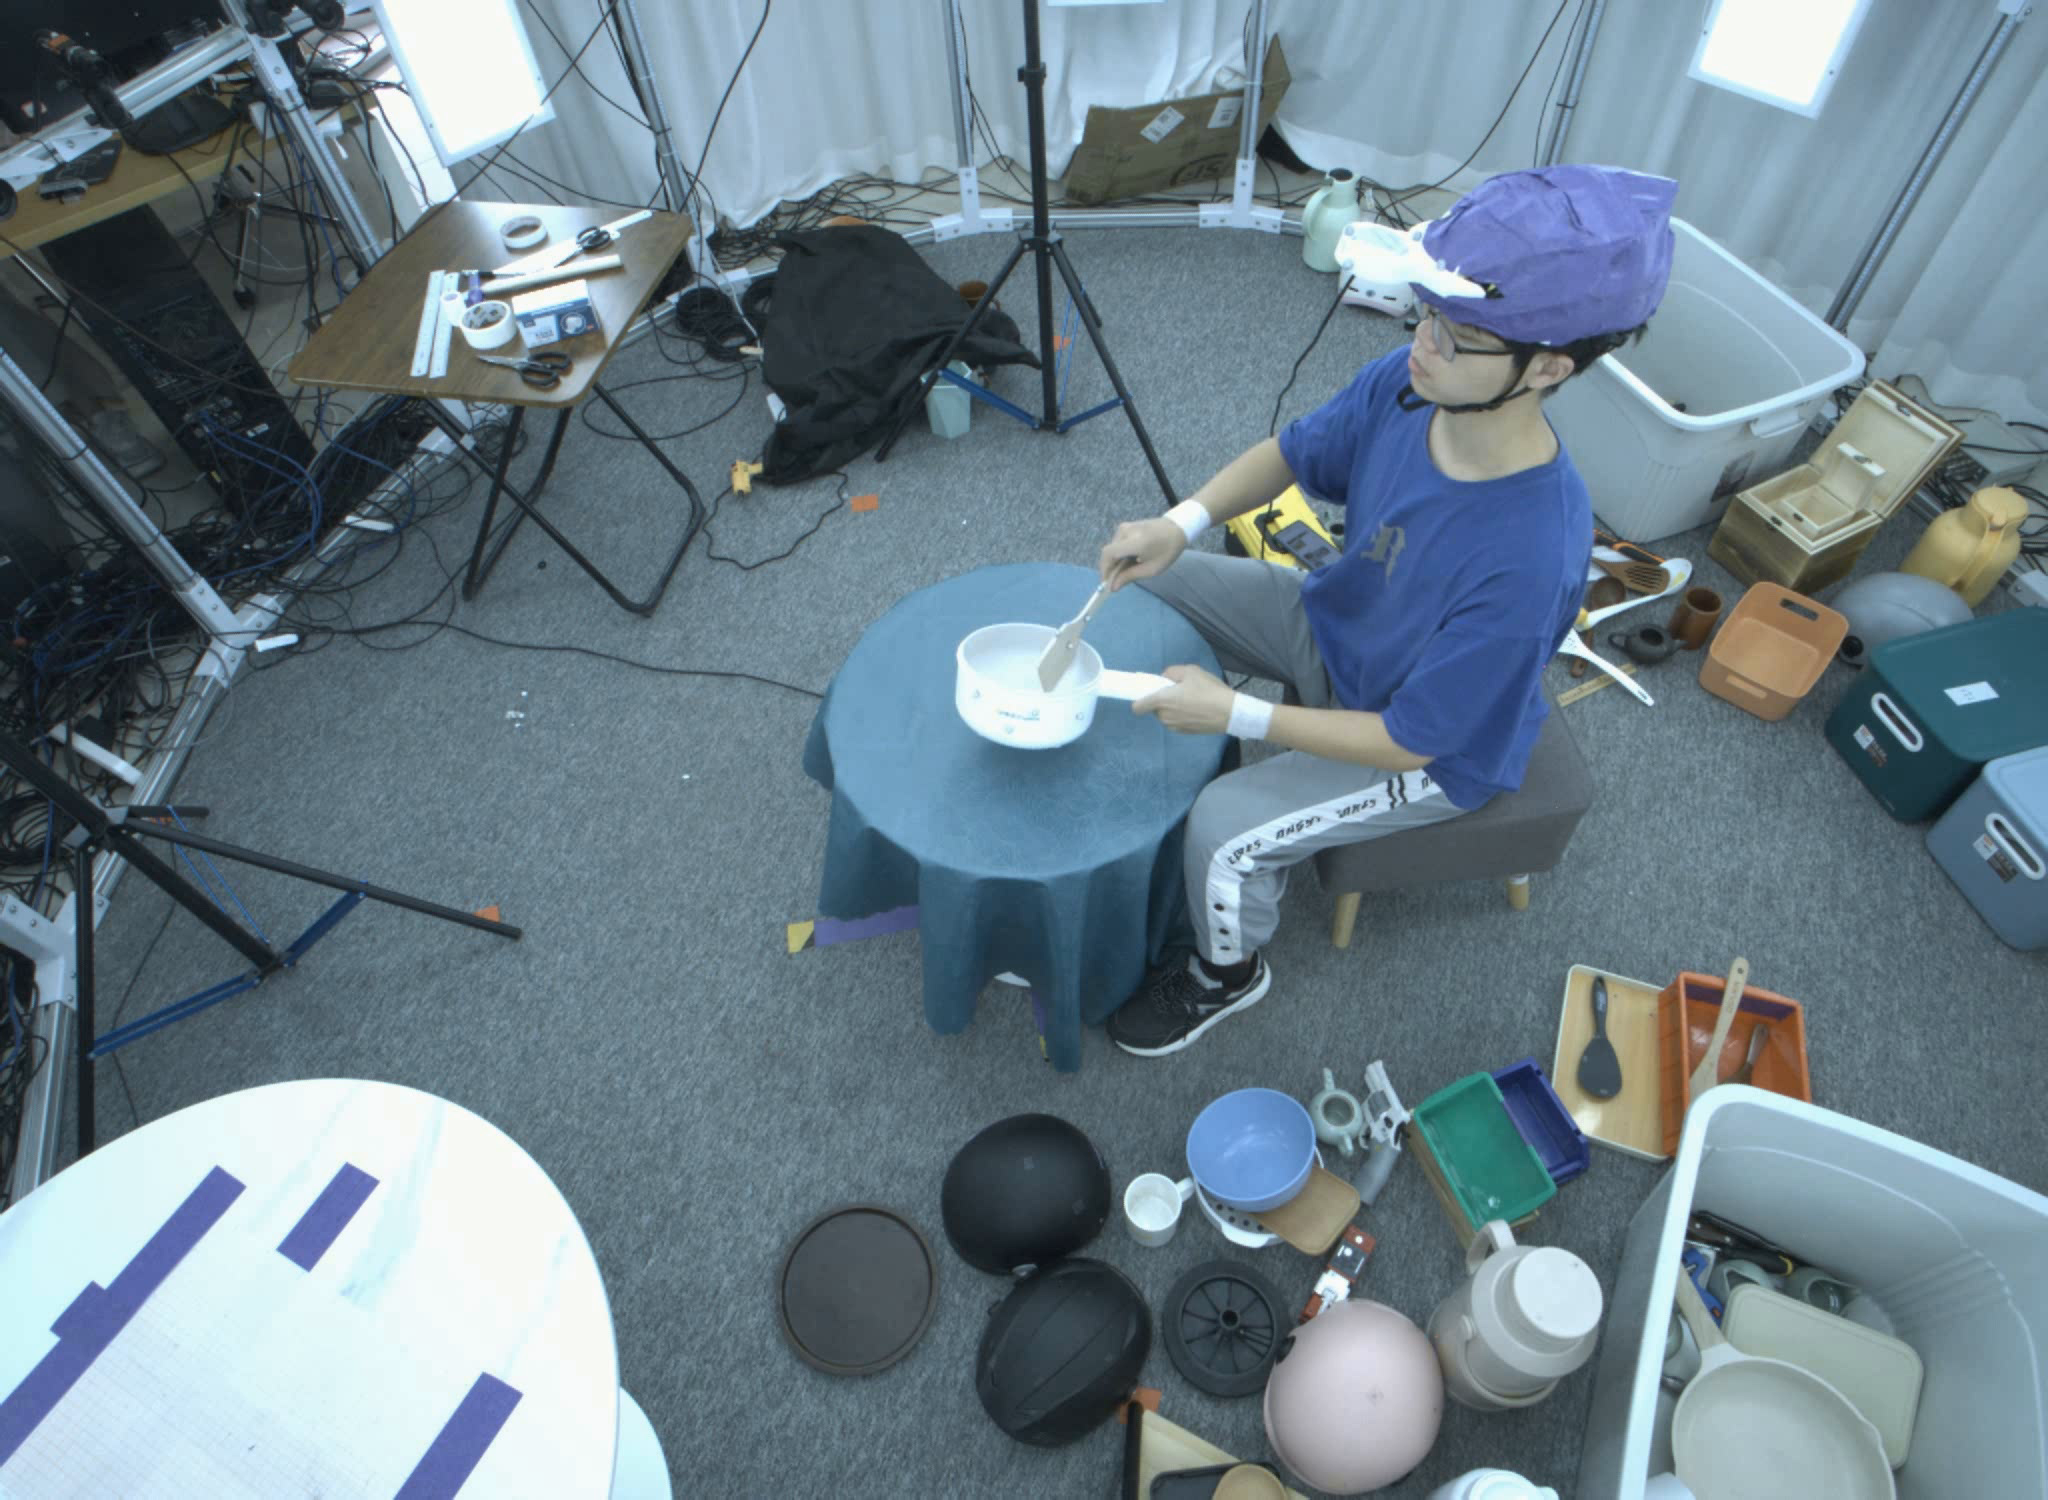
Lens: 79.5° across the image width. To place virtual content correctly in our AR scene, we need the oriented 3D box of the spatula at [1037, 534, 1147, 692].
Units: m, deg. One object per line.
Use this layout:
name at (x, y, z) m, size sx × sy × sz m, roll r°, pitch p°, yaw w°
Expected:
spatula at (0.098, -0.201, 1.722) m, size 0.010 × 0.073 × 0.294 m, roll 21°, pitch 62°, yaw 28°

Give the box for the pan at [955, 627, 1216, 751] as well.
pan at (0.080, -0.070, 1.687) m, size 0.355 × 0.102 × 0.200 m, roll 9°, pitch 31°, yaw -1°
